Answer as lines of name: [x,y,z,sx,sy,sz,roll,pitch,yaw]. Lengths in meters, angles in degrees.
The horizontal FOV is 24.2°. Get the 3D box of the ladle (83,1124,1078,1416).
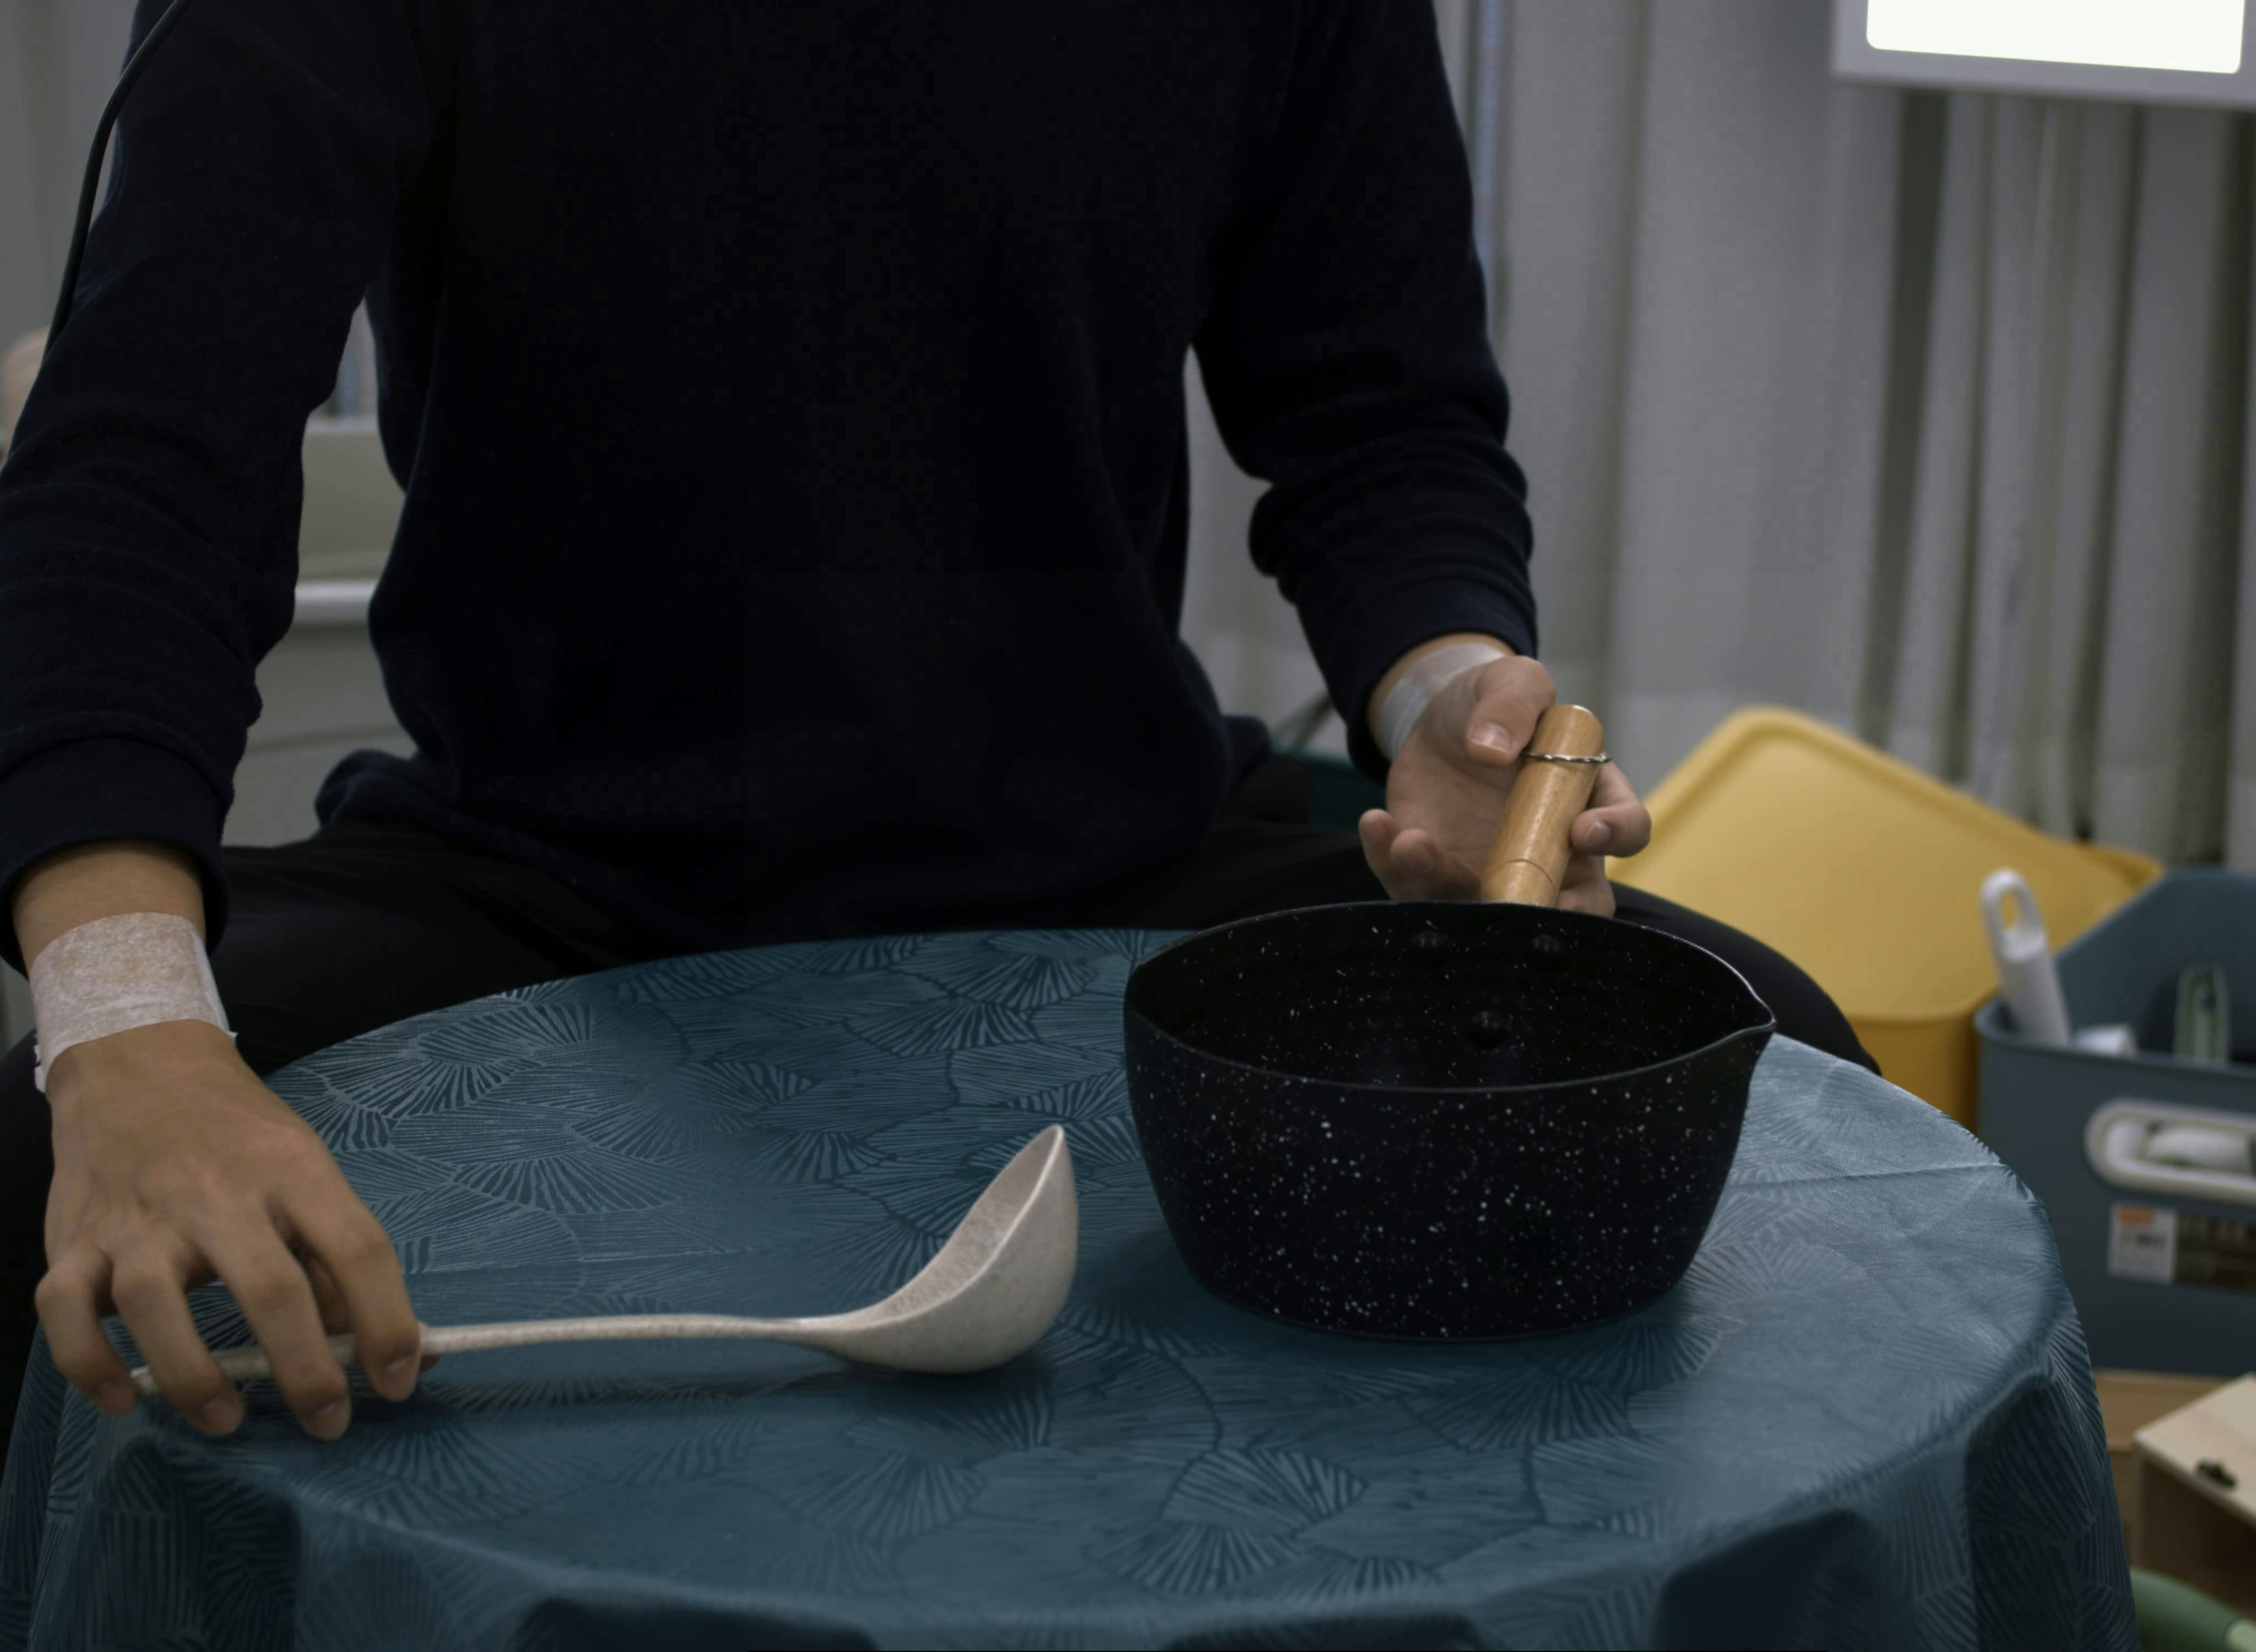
ladle: [-0.149,0.121,1.453,0.275,0.070,0.089,-2,5,-10]

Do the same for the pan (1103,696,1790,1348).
pan: [0.108,0.055,1.628,0.206,0.109,0.342,3,17,12]
